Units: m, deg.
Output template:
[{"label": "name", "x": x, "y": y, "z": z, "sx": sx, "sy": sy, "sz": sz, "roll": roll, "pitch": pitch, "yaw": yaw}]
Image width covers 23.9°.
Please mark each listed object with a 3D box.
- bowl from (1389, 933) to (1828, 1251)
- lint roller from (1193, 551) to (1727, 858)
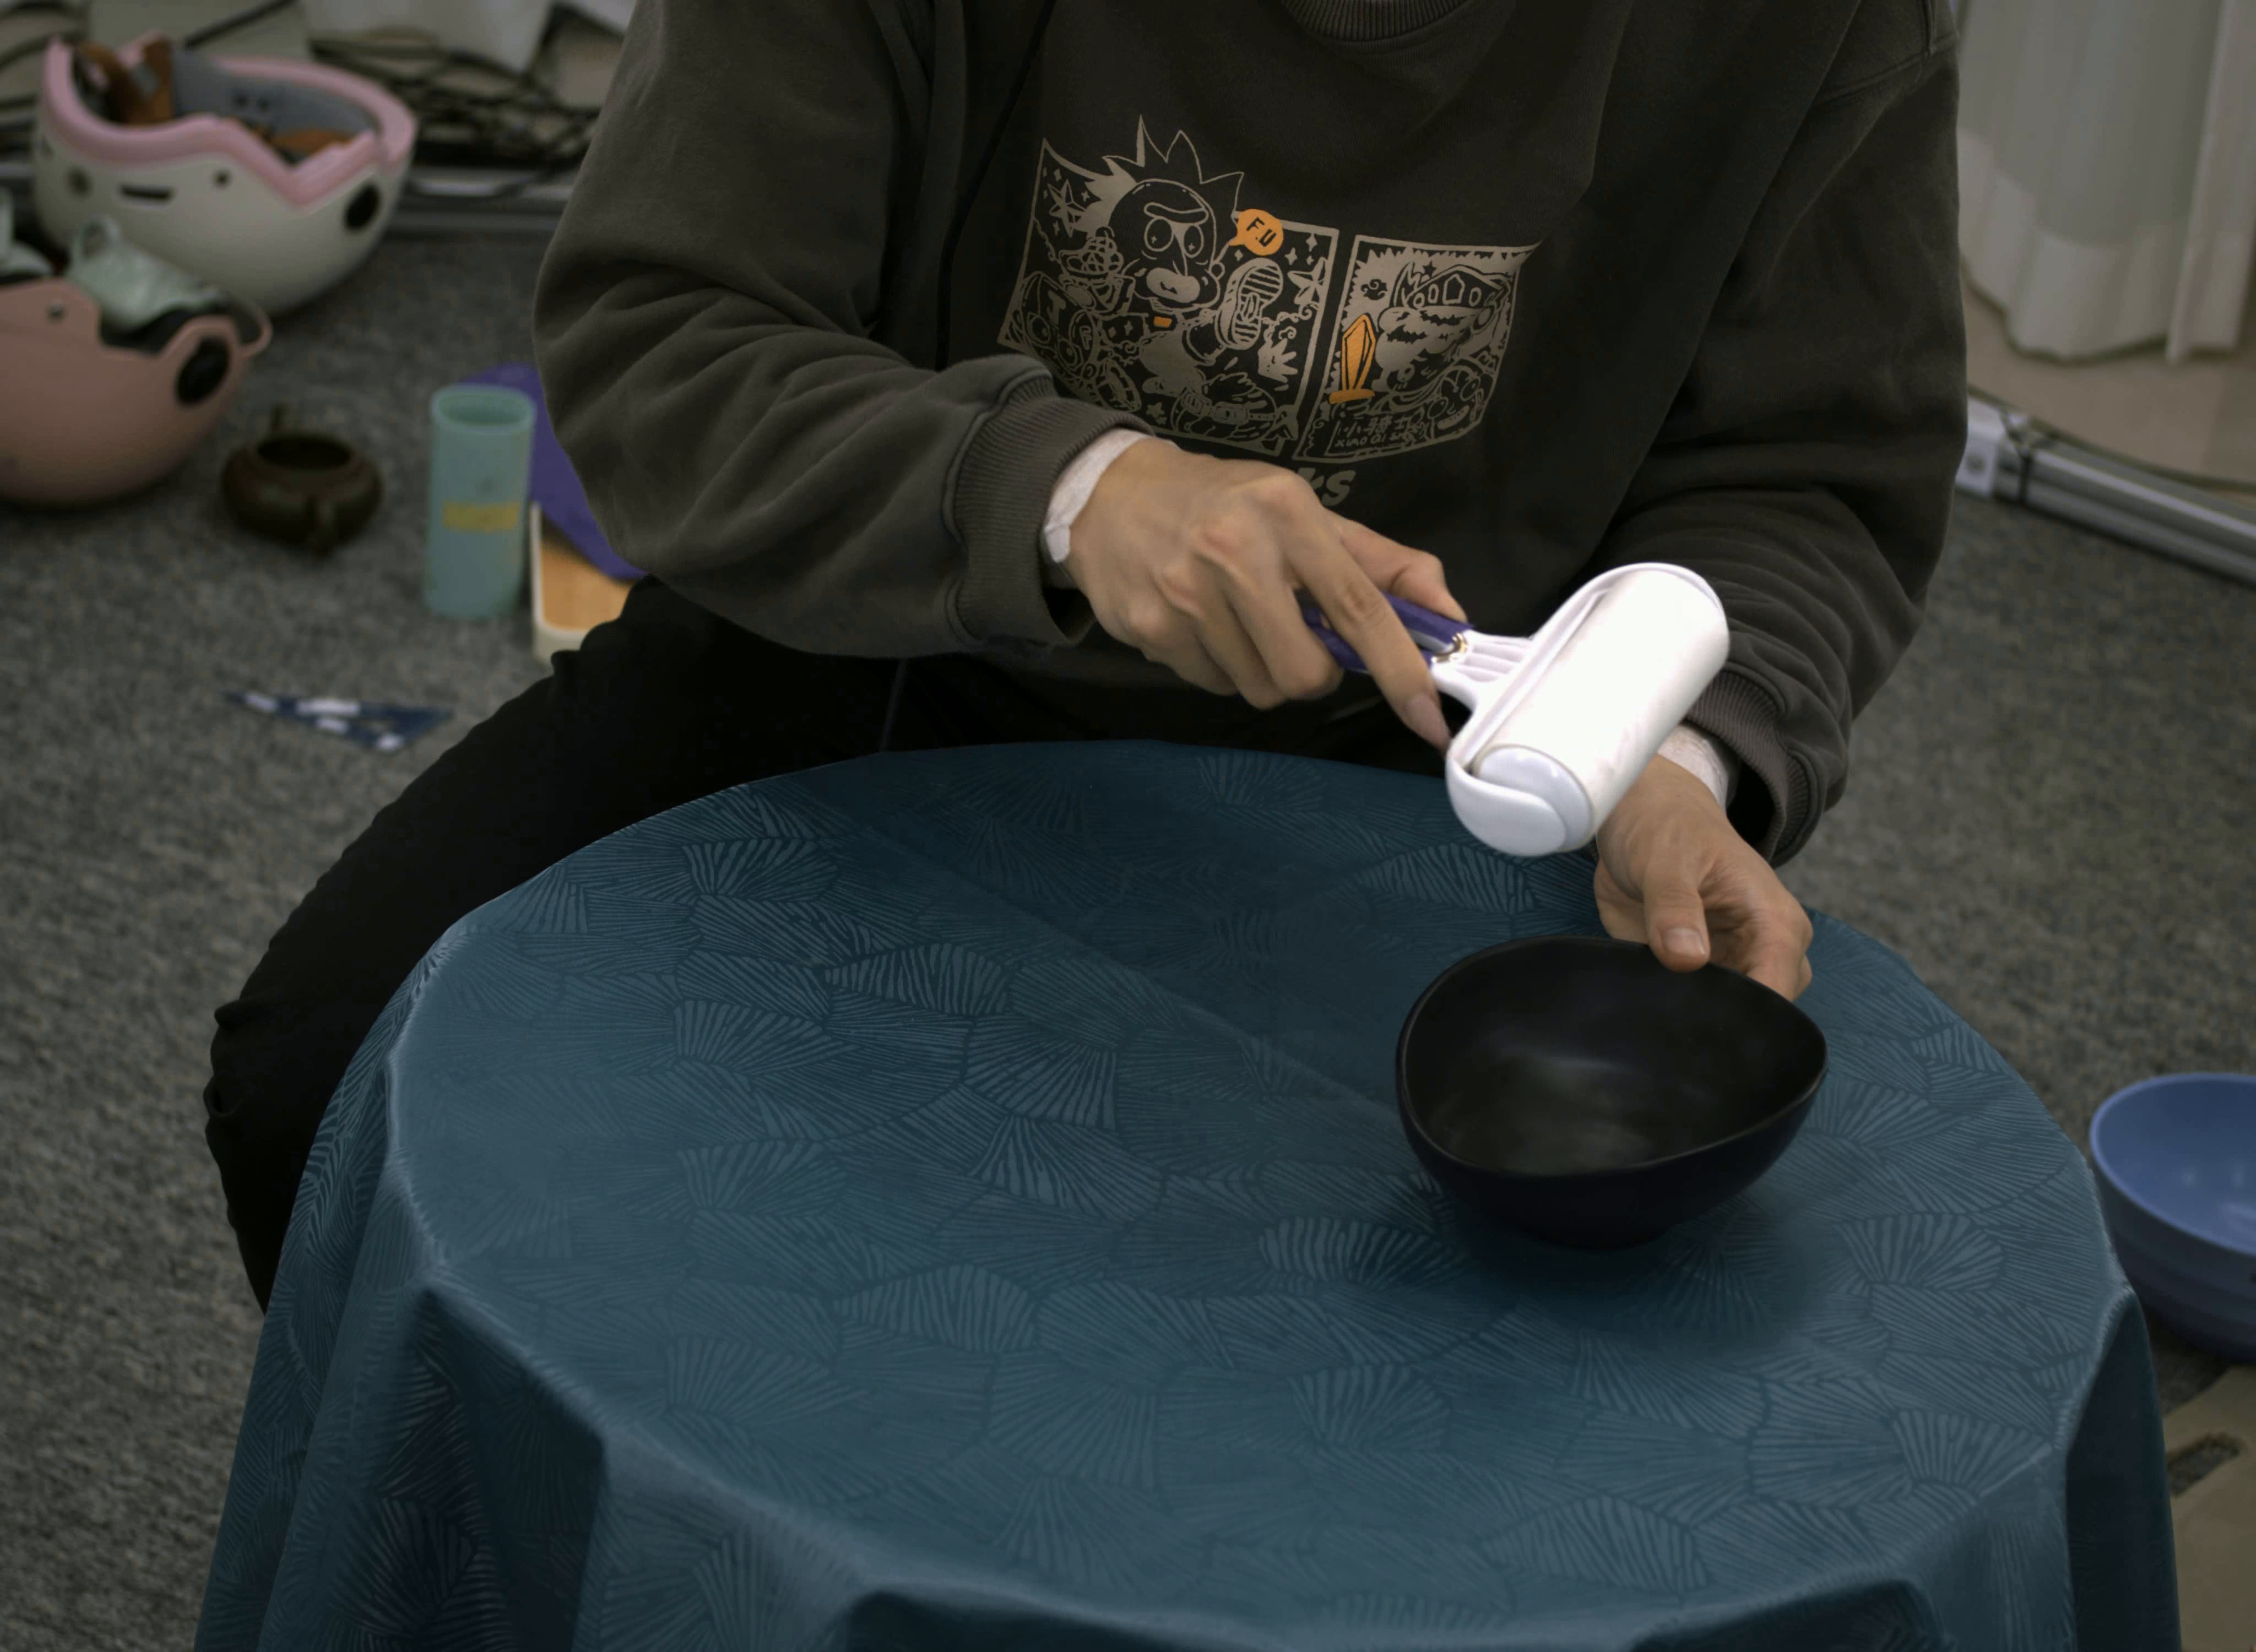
[{"label": "bowl", "x": 0.161, "y": 0.101, "z": 1.816, "sx": 0.138, "sy": 0.066, "sz": 0.170, "roll": 23, "pitch": 33, "yaw": 32}, {"label": "lint roller", "x": 0.103, "y": -0.066, "z": 1.805, "sx": 0.181, "sy": 0.050, "sz": 0.133, "roll": 27, "pitch": 51, "yaw": 20}]
